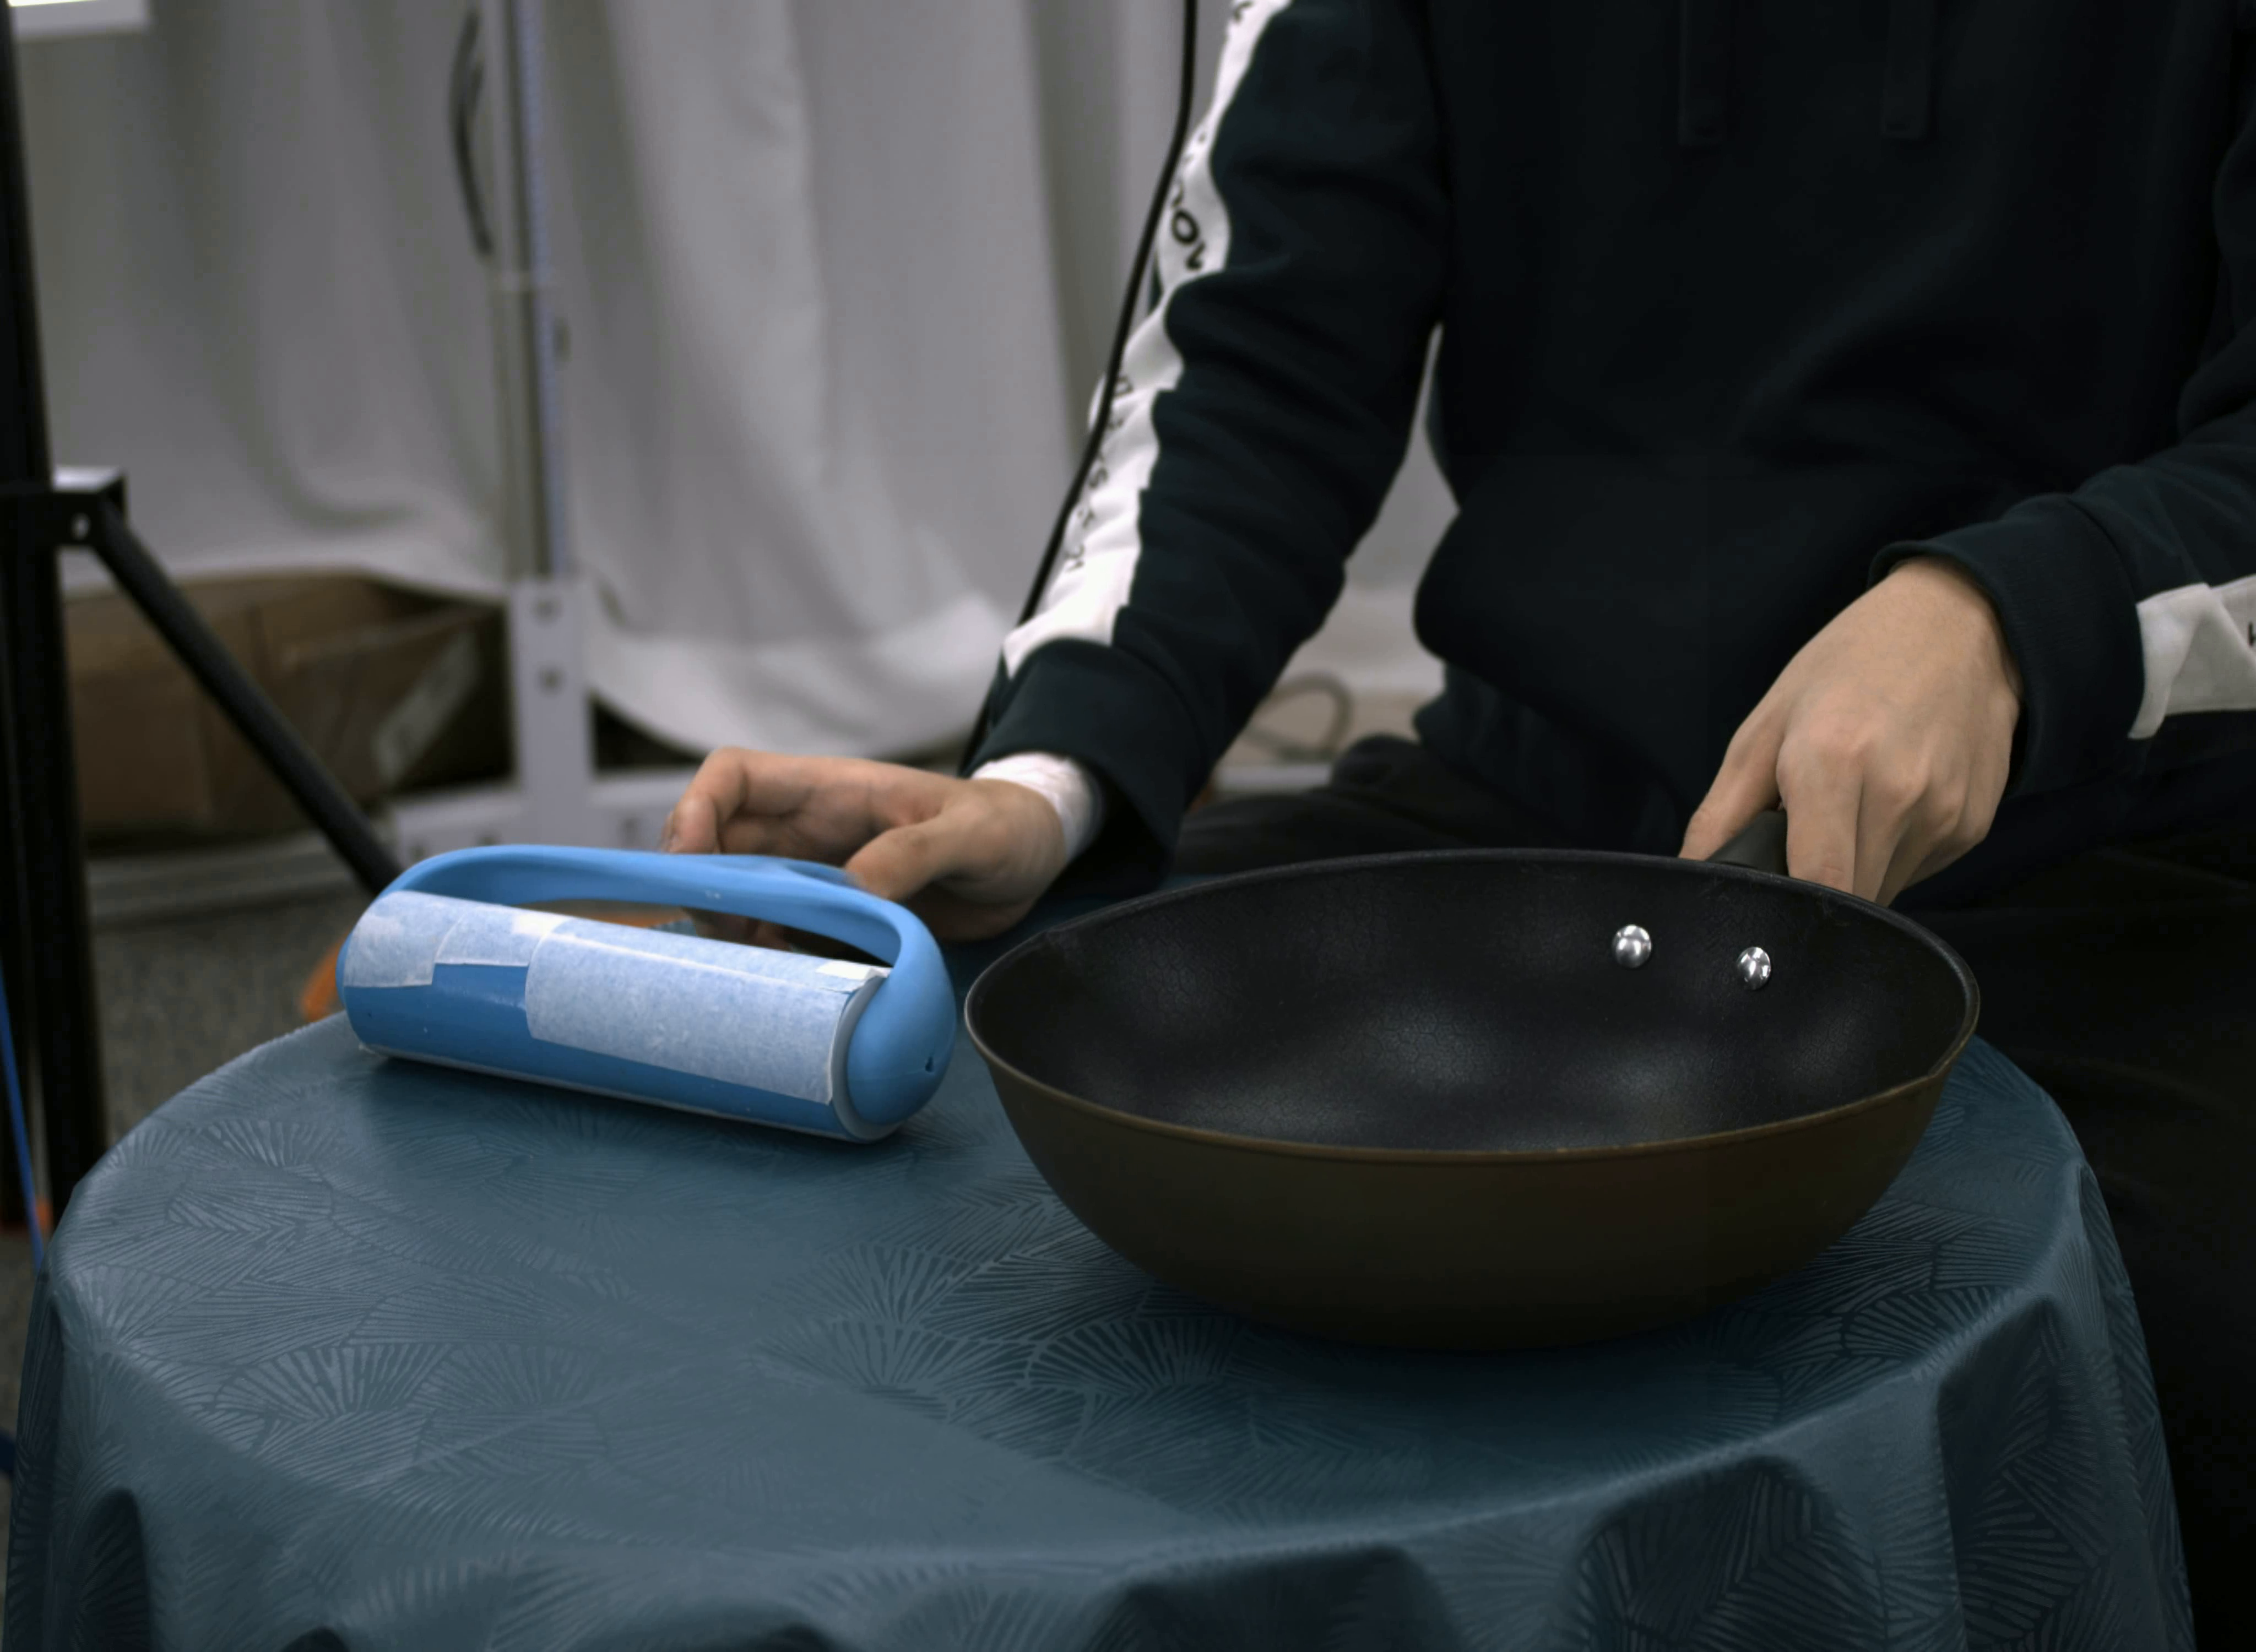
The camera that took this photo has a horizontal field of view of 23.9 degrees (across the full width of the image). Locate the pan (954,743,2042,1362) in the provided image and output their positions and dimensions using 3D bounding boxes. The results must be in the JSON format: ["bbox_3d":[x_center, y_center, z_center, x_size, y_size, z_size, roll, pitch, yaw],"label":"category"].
[{"bbox_3d":[0.146,0.062,1.545,0.294,0.087,0.454,9,19,35],"label":"pan"}]

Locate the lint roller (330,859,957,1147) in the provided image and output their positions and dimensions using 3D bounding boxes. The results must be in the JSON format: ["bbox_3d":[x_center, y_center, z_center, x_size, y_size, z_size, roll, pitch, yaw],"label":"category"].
[{"bbox_3d":[-0.126,0.043,1.706,0.233,0.068,0.177,4,18,31],"label":"lint roller"}]
